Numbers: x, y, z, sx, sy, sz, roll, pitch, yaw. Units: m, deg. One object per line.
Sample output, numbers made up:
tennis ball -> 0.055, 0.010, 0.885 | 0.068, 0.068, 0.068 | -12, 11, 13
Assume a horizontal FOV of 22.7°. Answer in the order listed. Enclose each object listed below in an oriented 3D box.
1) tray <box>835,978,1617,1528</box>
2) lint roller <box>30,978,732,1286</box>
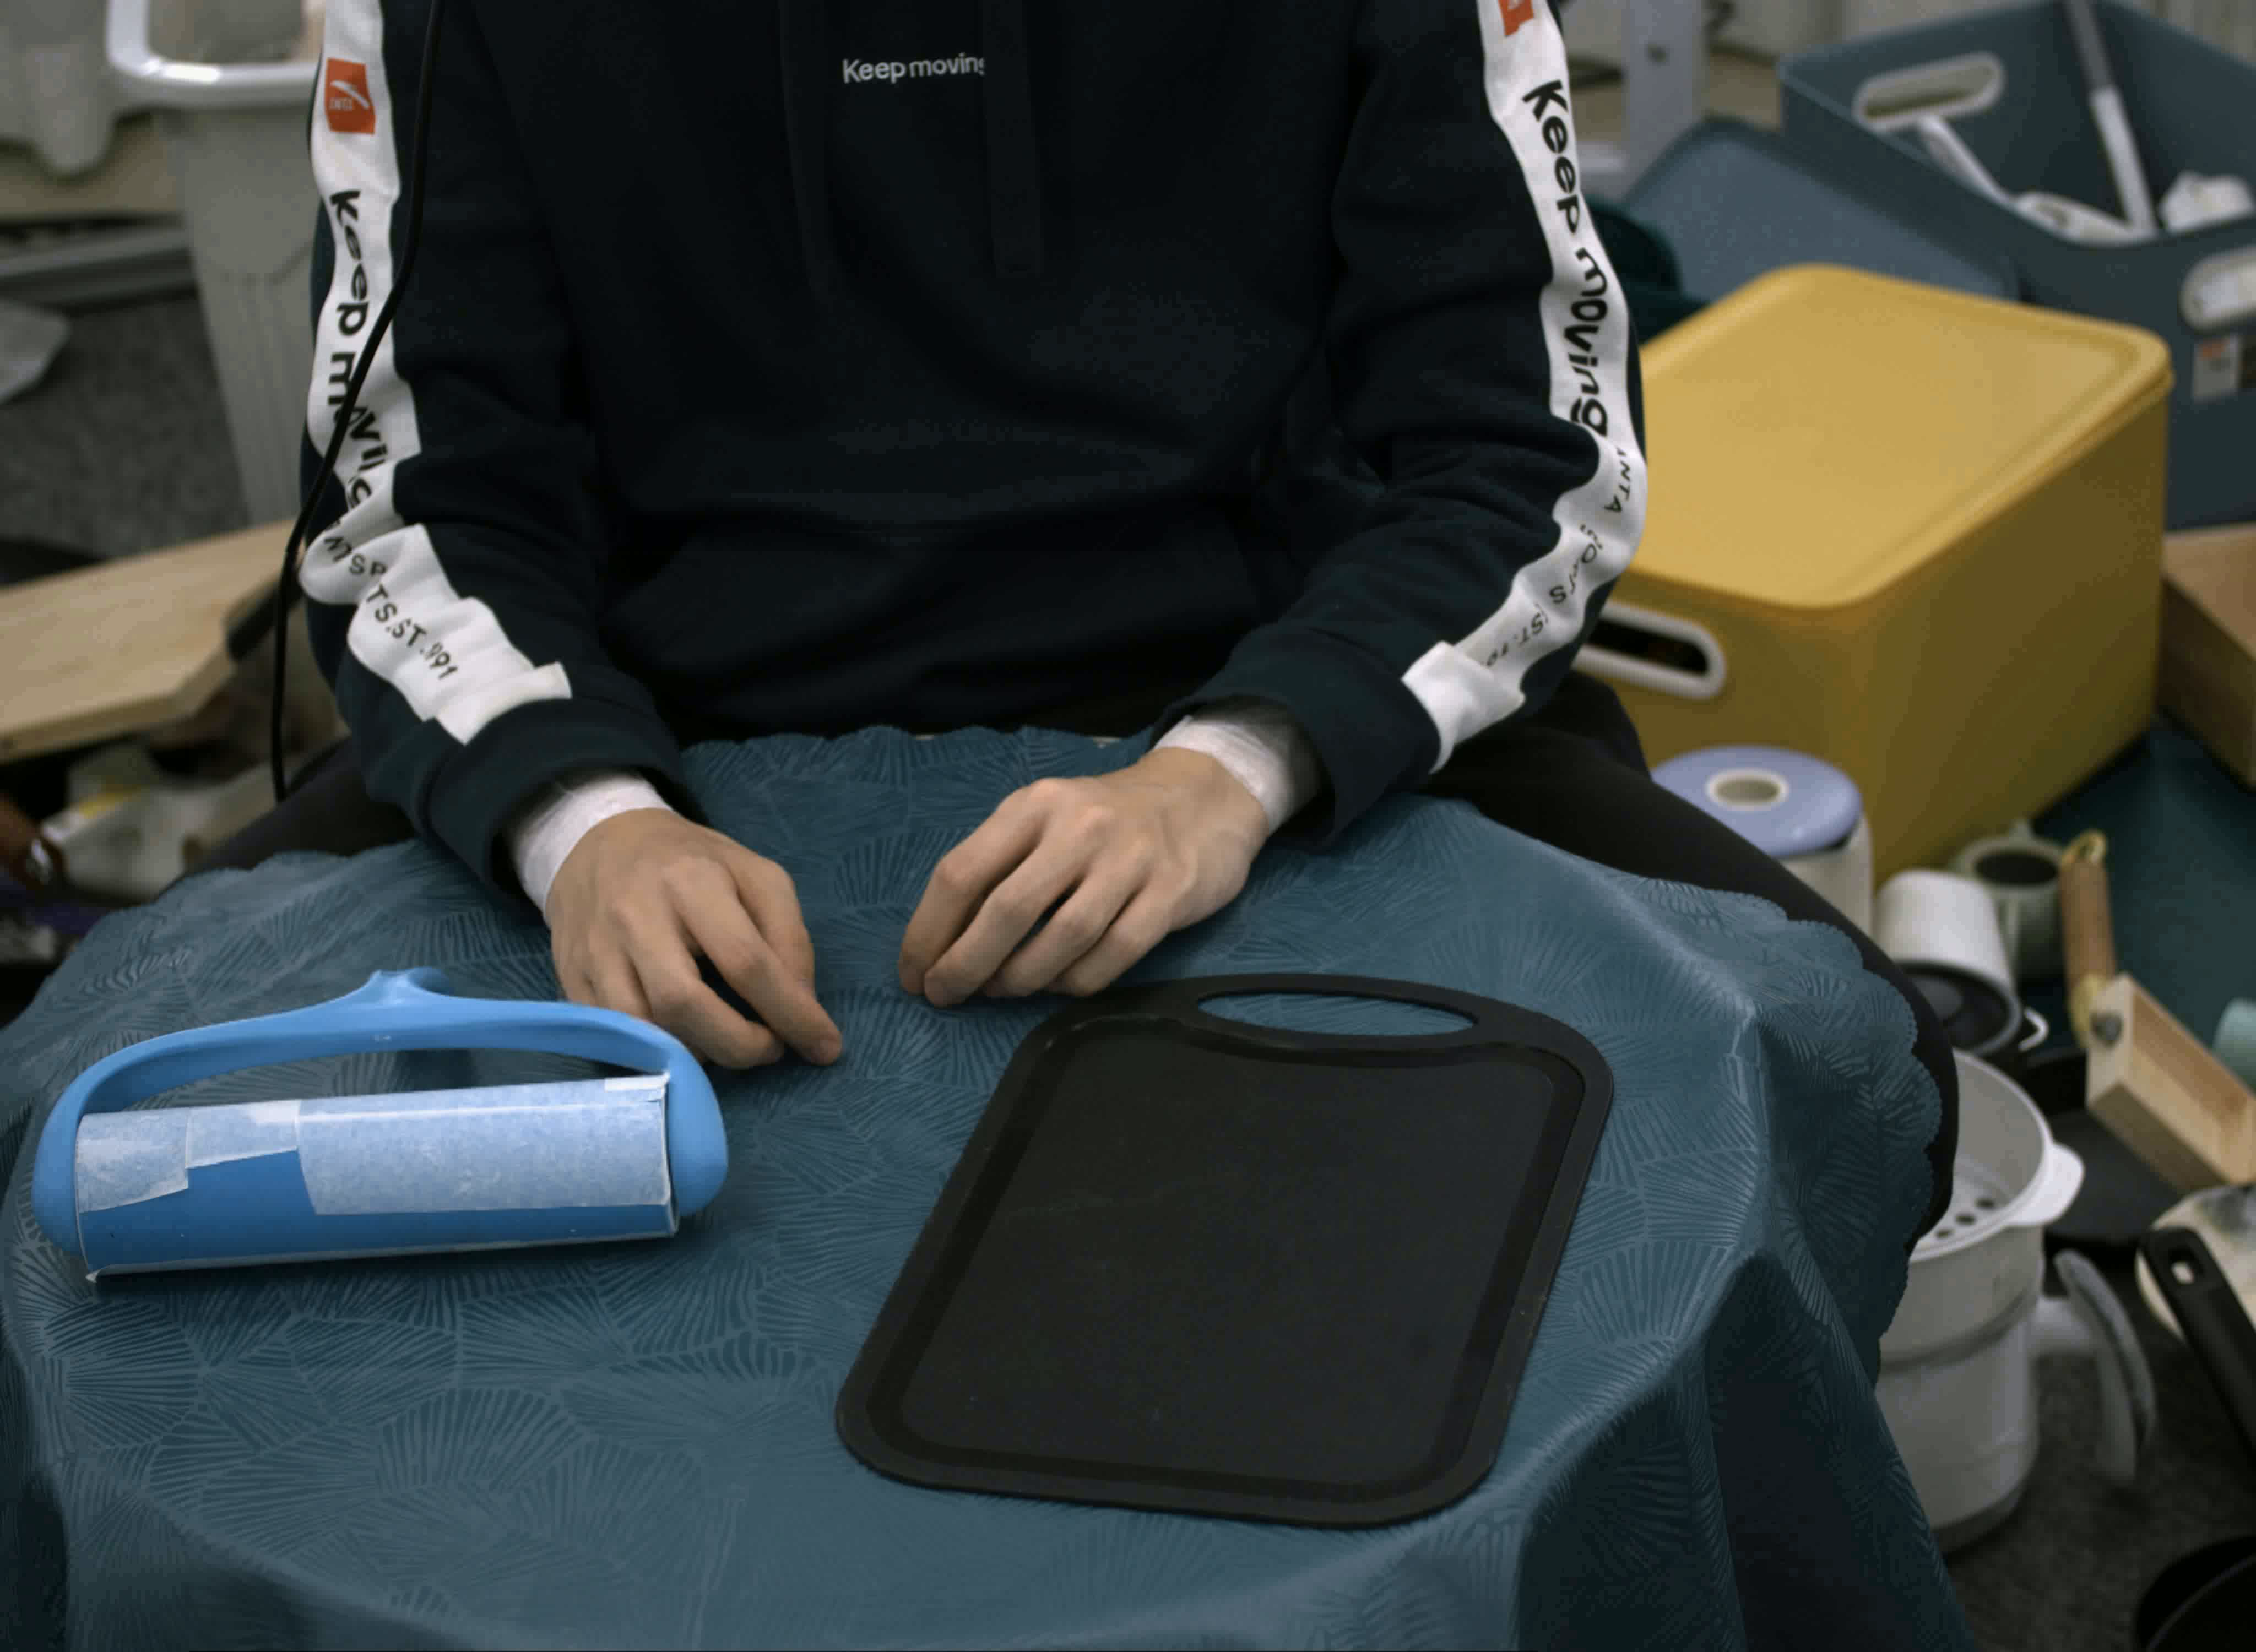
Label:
tray -> 0.038, 0.129, 1.835 | 0.209, 0.009, 0.331 | 4, 28, 14
lint roller -> -0.249, 0.087, 1.890 | 0.228, 0.067, 0.183 | -6, 29, -3
